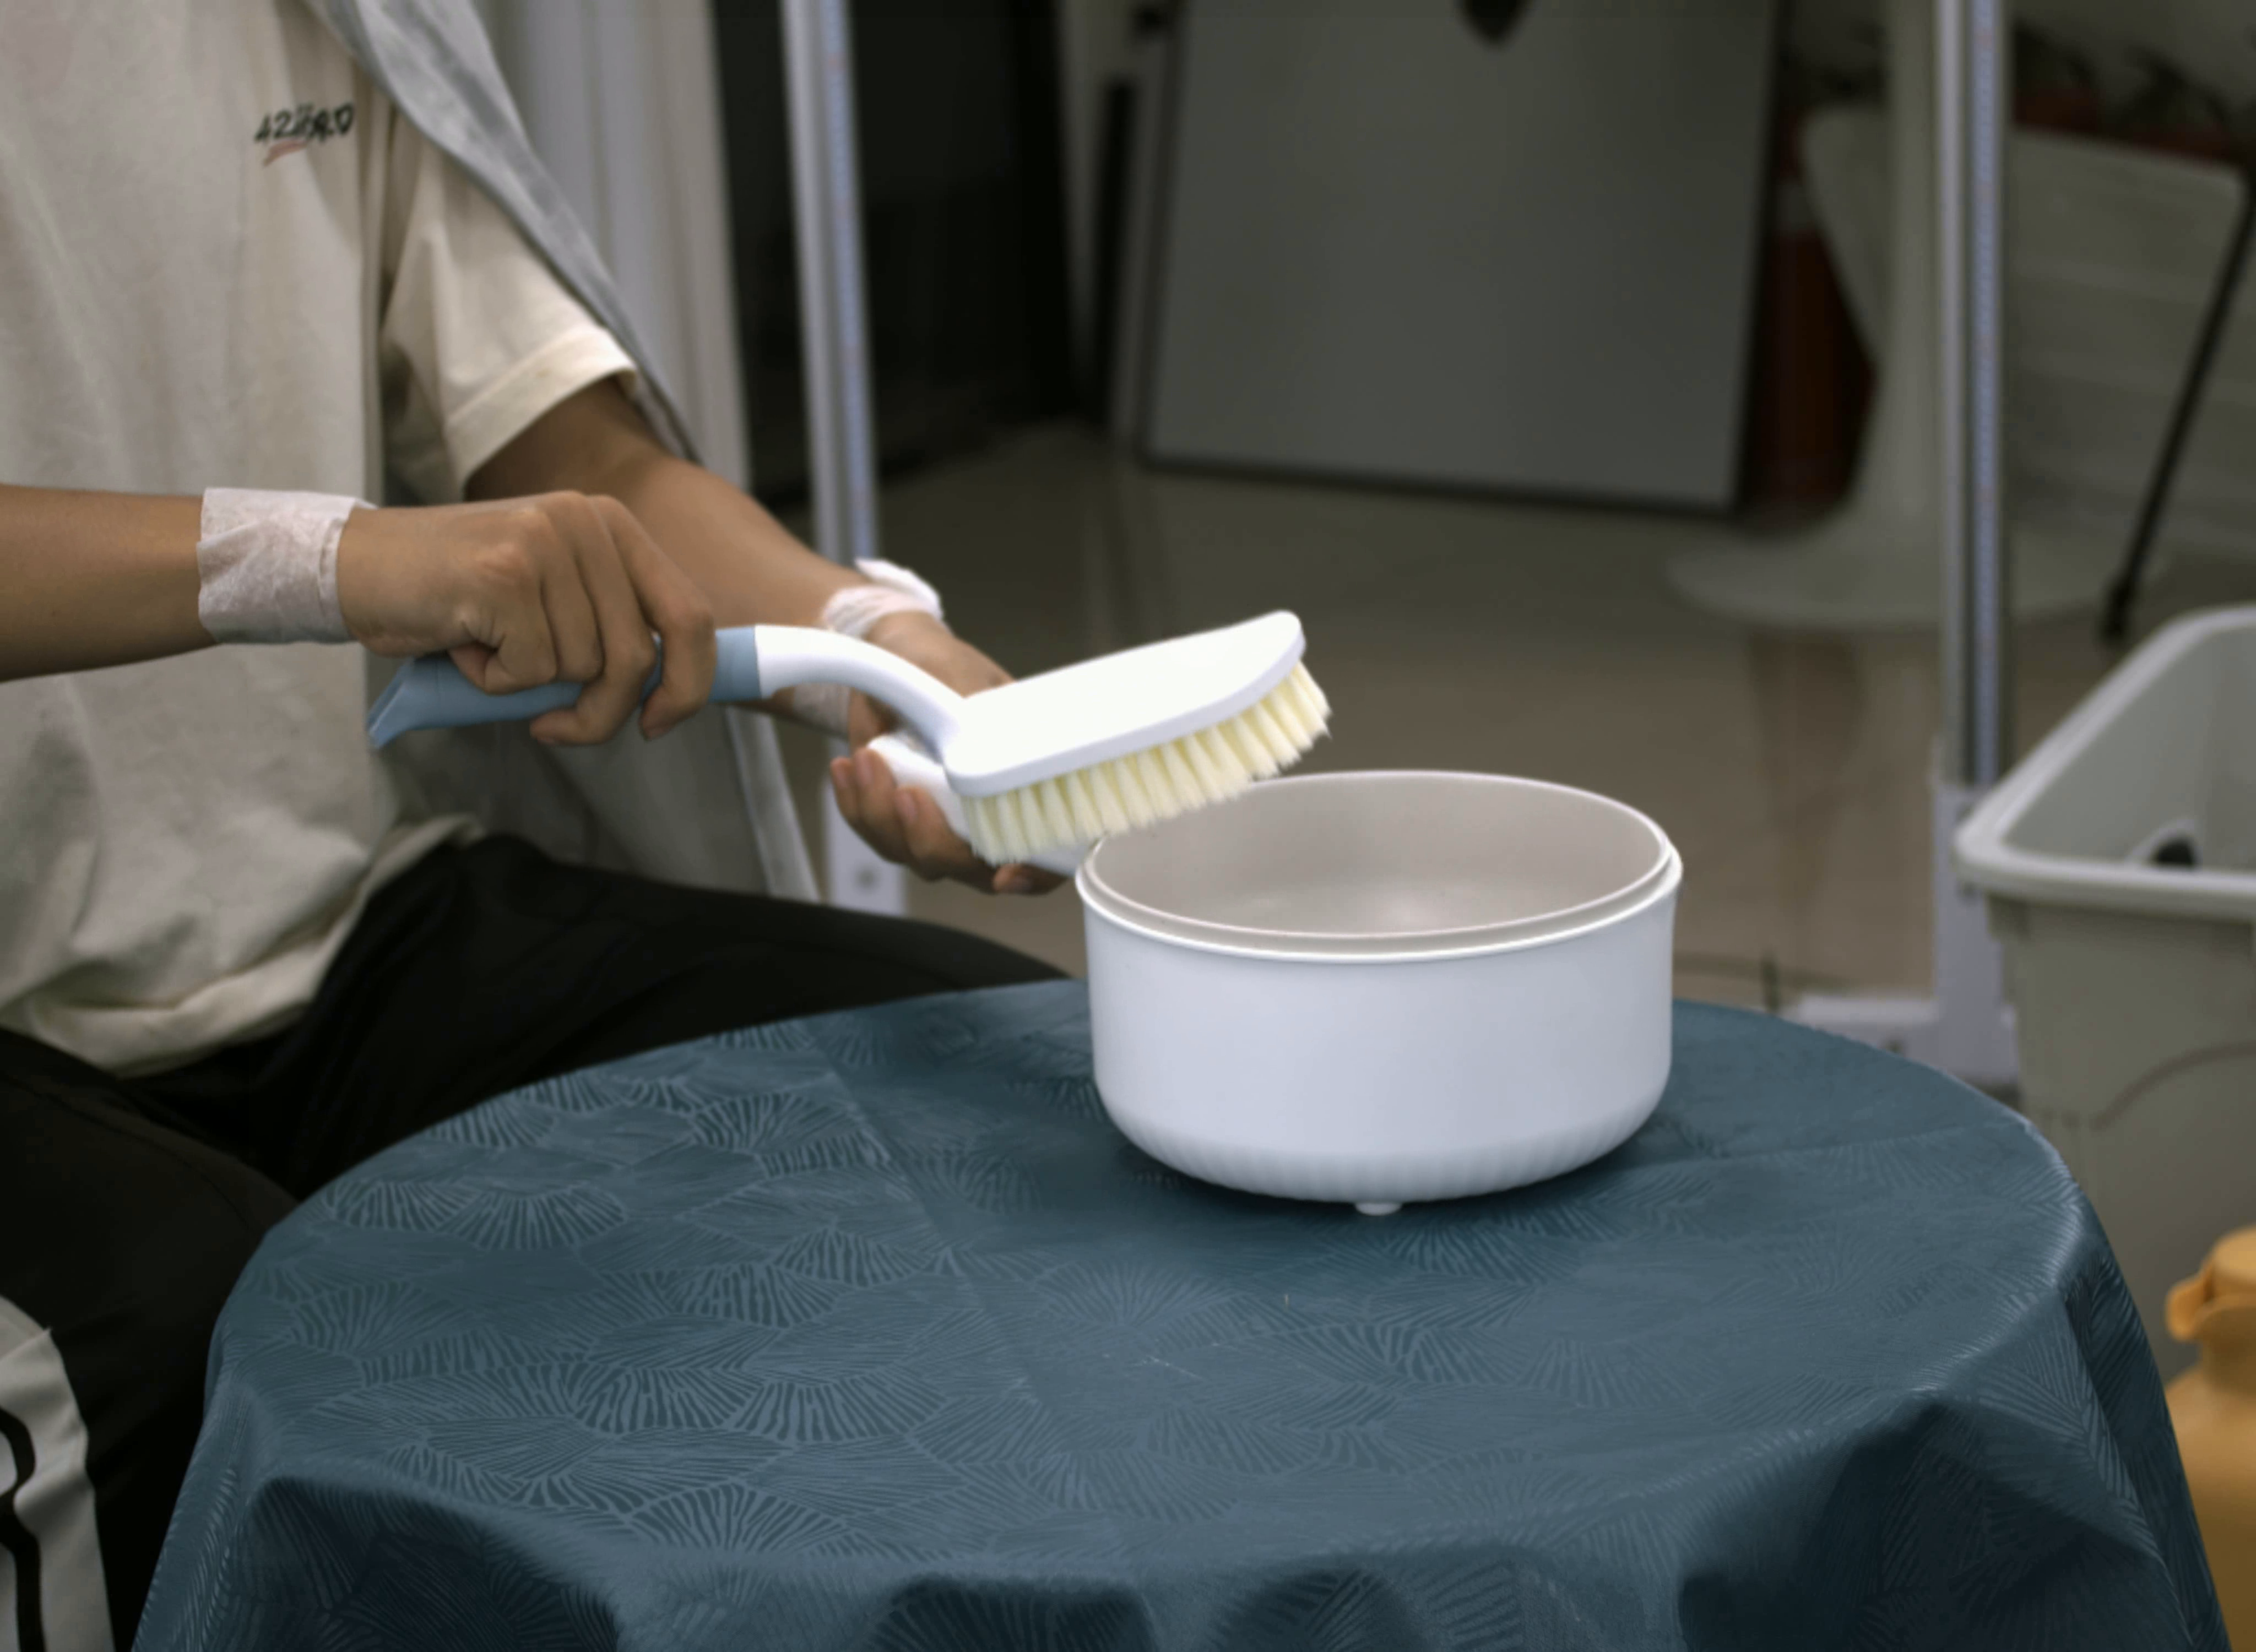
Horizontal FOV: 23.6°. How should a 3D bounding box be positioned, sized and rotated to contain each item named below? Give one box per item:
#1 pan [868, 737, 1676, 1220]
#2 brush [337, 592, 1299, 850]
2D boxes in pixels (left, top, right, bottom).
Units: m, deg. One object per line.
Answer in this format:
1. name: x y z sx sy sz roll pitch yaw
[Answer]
1. pan: 0.034 0.045 1.850 0.197 0.103 0.358 -15 19 -38
2. brush: -0.101 -0.024 1.815 0.321 0.086 0.083 -6 -15 -3
